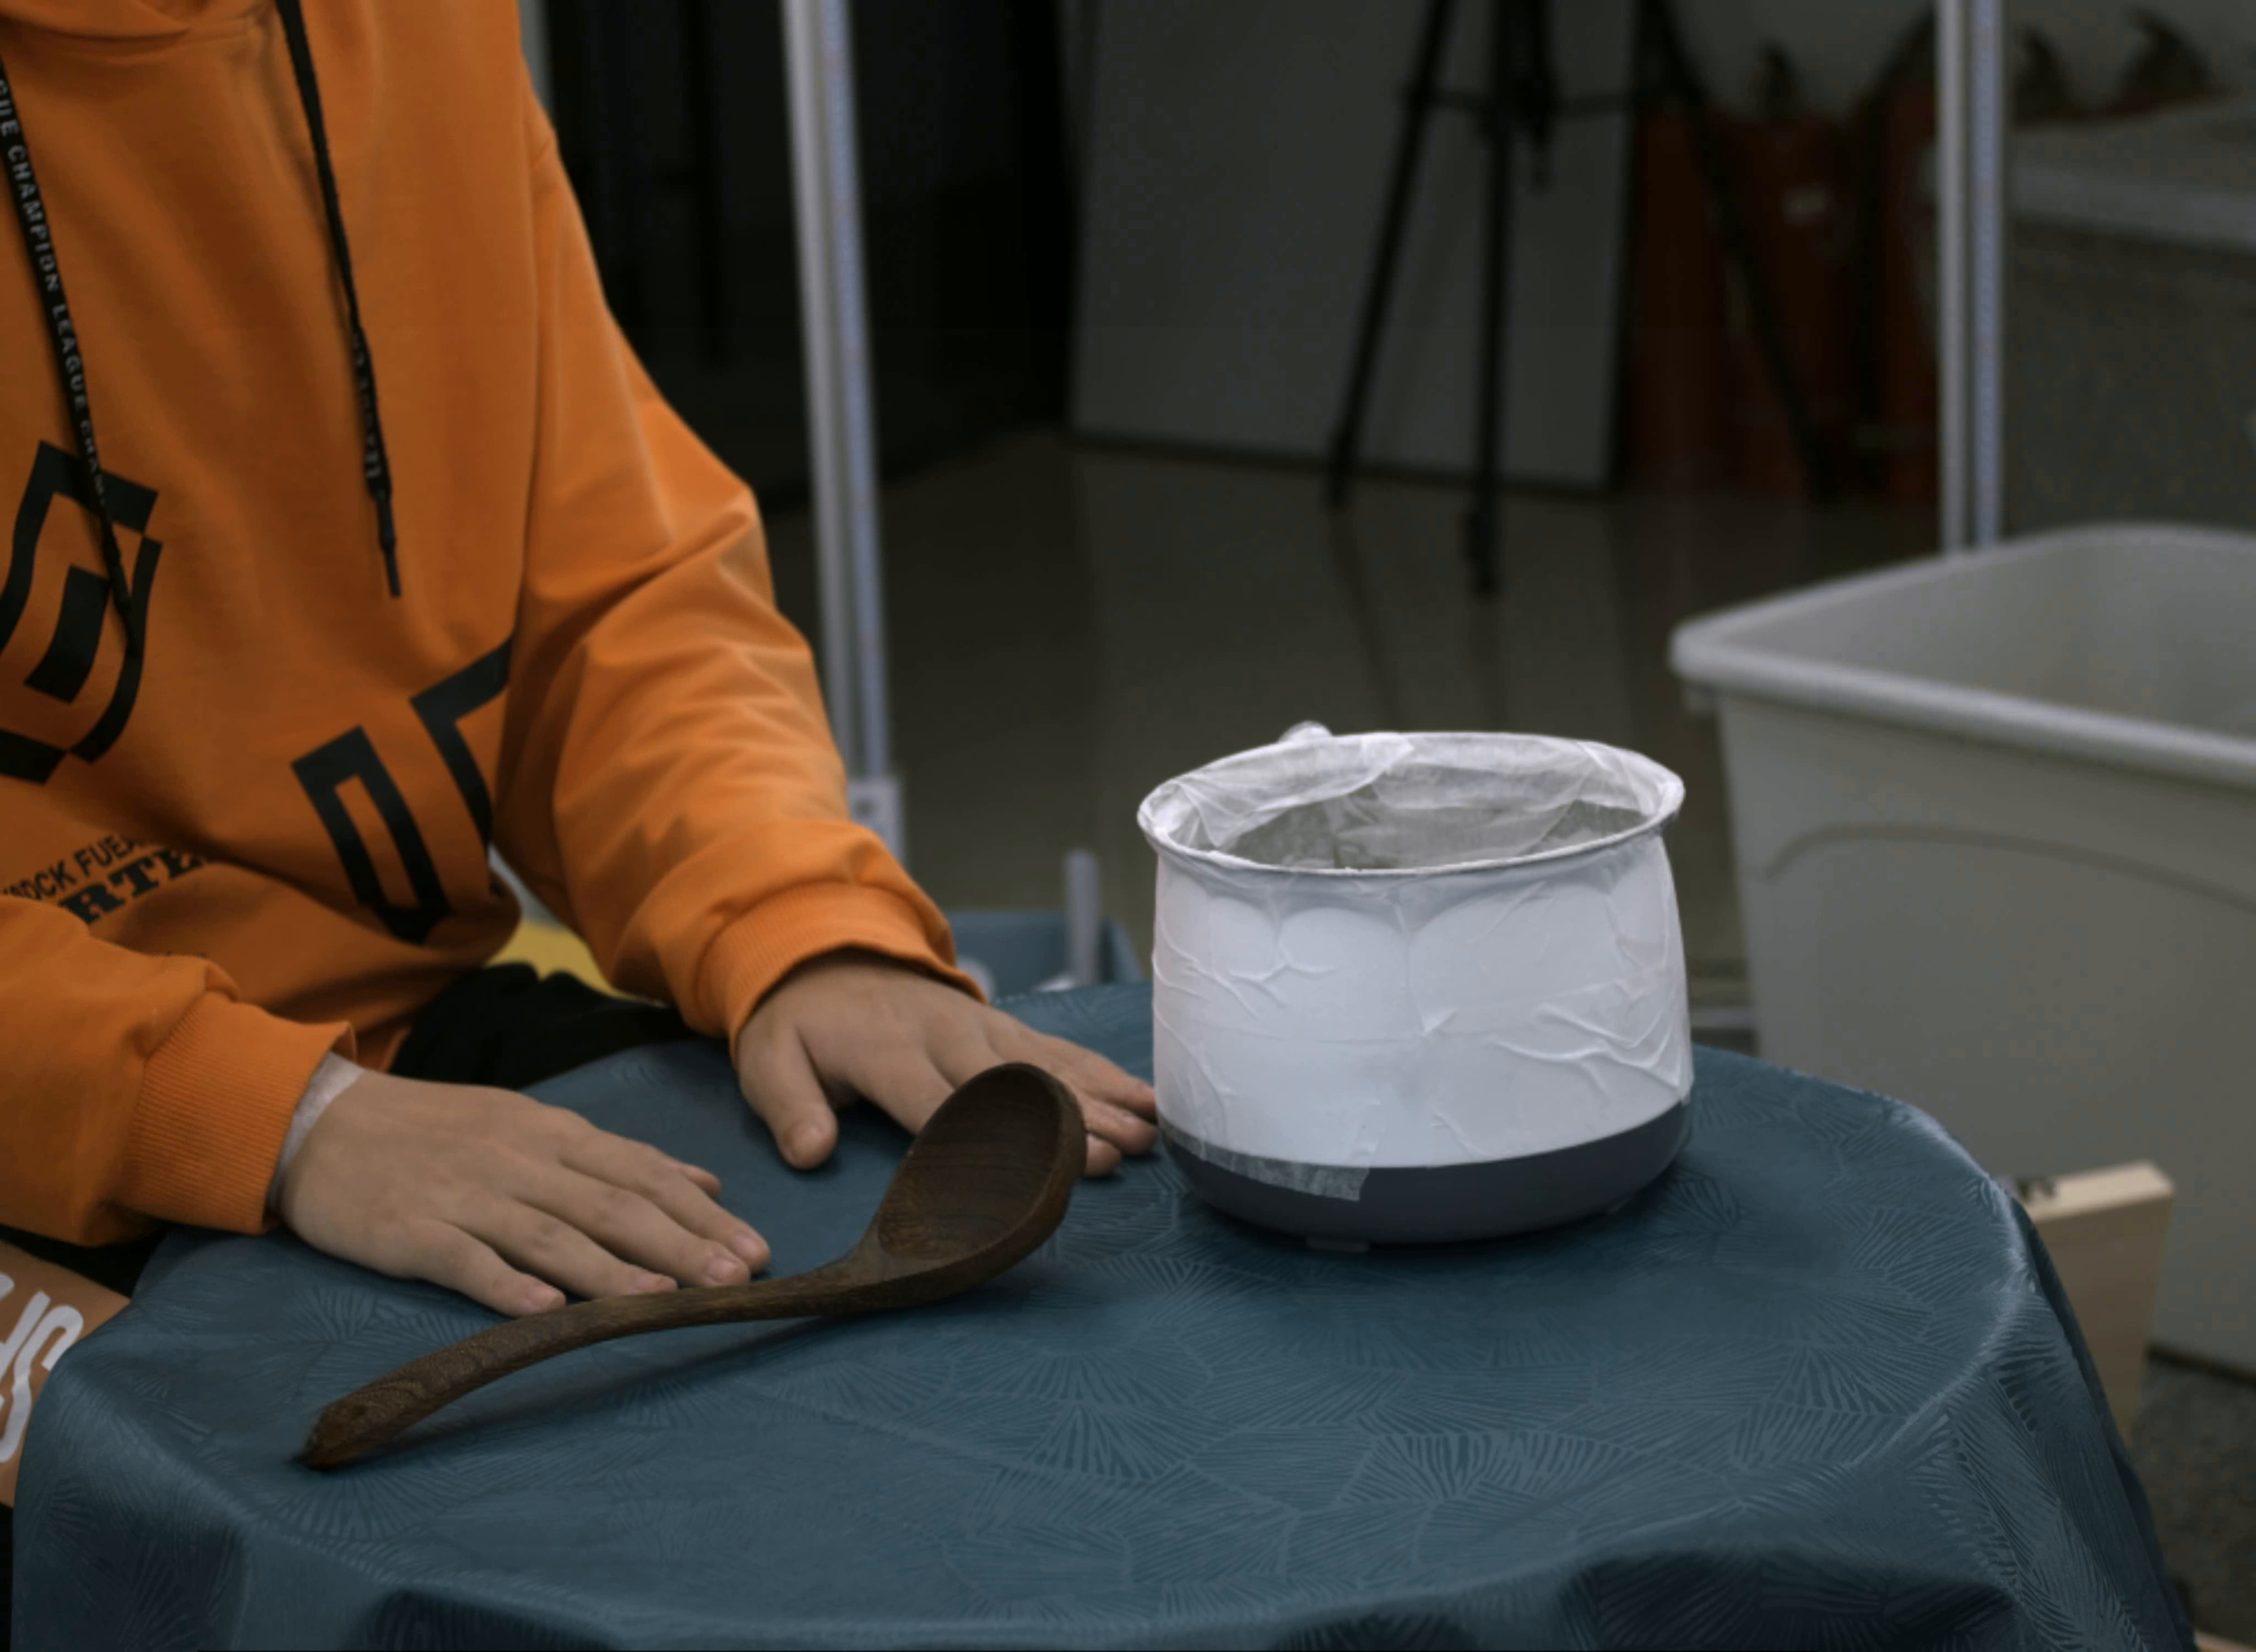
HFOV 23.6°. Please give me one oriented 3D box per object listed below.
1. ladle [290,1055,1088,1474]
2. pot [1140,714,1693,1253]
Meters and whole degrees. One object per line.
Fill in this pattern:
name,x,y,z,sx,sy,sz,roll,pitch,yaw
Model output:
ladle,-0.130,0.129,1.632,0.268,0.072,0.077,-12,13,-32
pot,0.085,0.045,1.764,0.175,0.138,0.236,-8,14,-17
